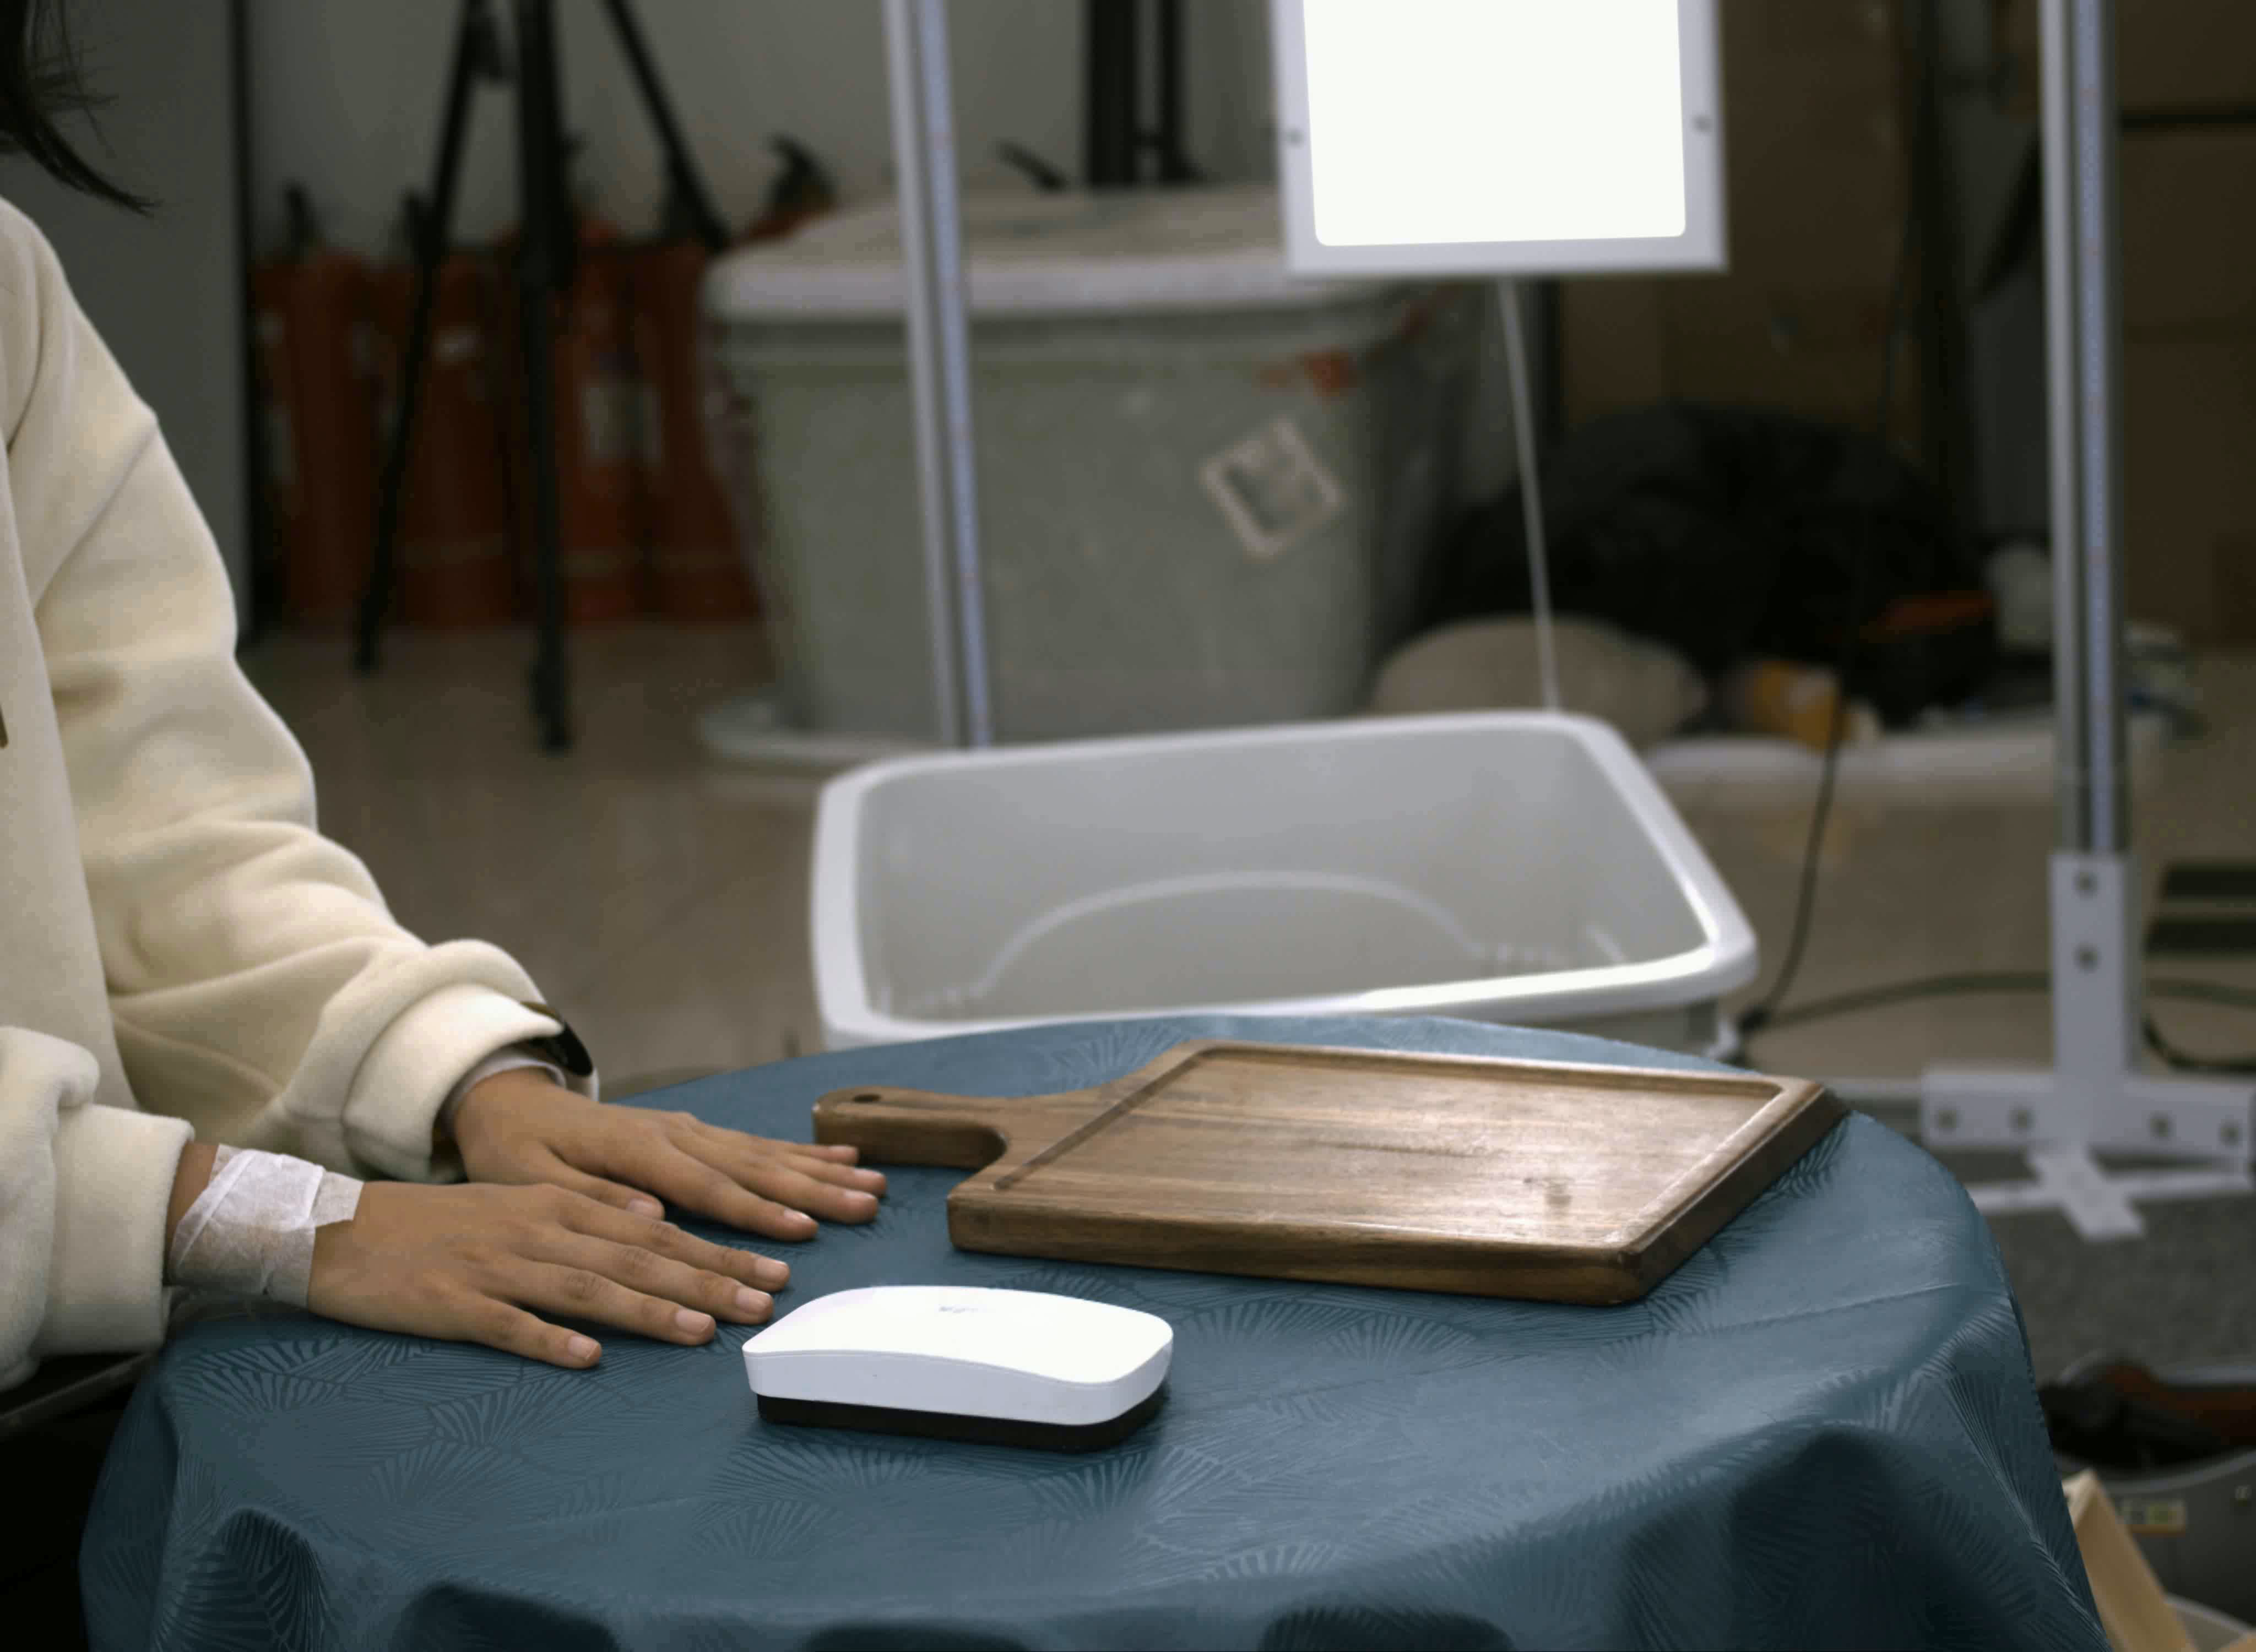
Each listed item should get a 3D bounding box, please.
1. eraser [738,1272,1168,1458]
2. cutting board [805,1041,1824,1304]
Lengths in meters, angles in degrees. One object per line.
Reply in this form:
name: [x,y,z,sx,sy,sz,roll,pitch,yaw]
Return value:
eraser: [-0.053,0.165,1.696,0.134,0.034,0.062,3,16,29]
cutting board: [0.046,0.113,1.894,0.358,0.023,0.197,2,15,28]
